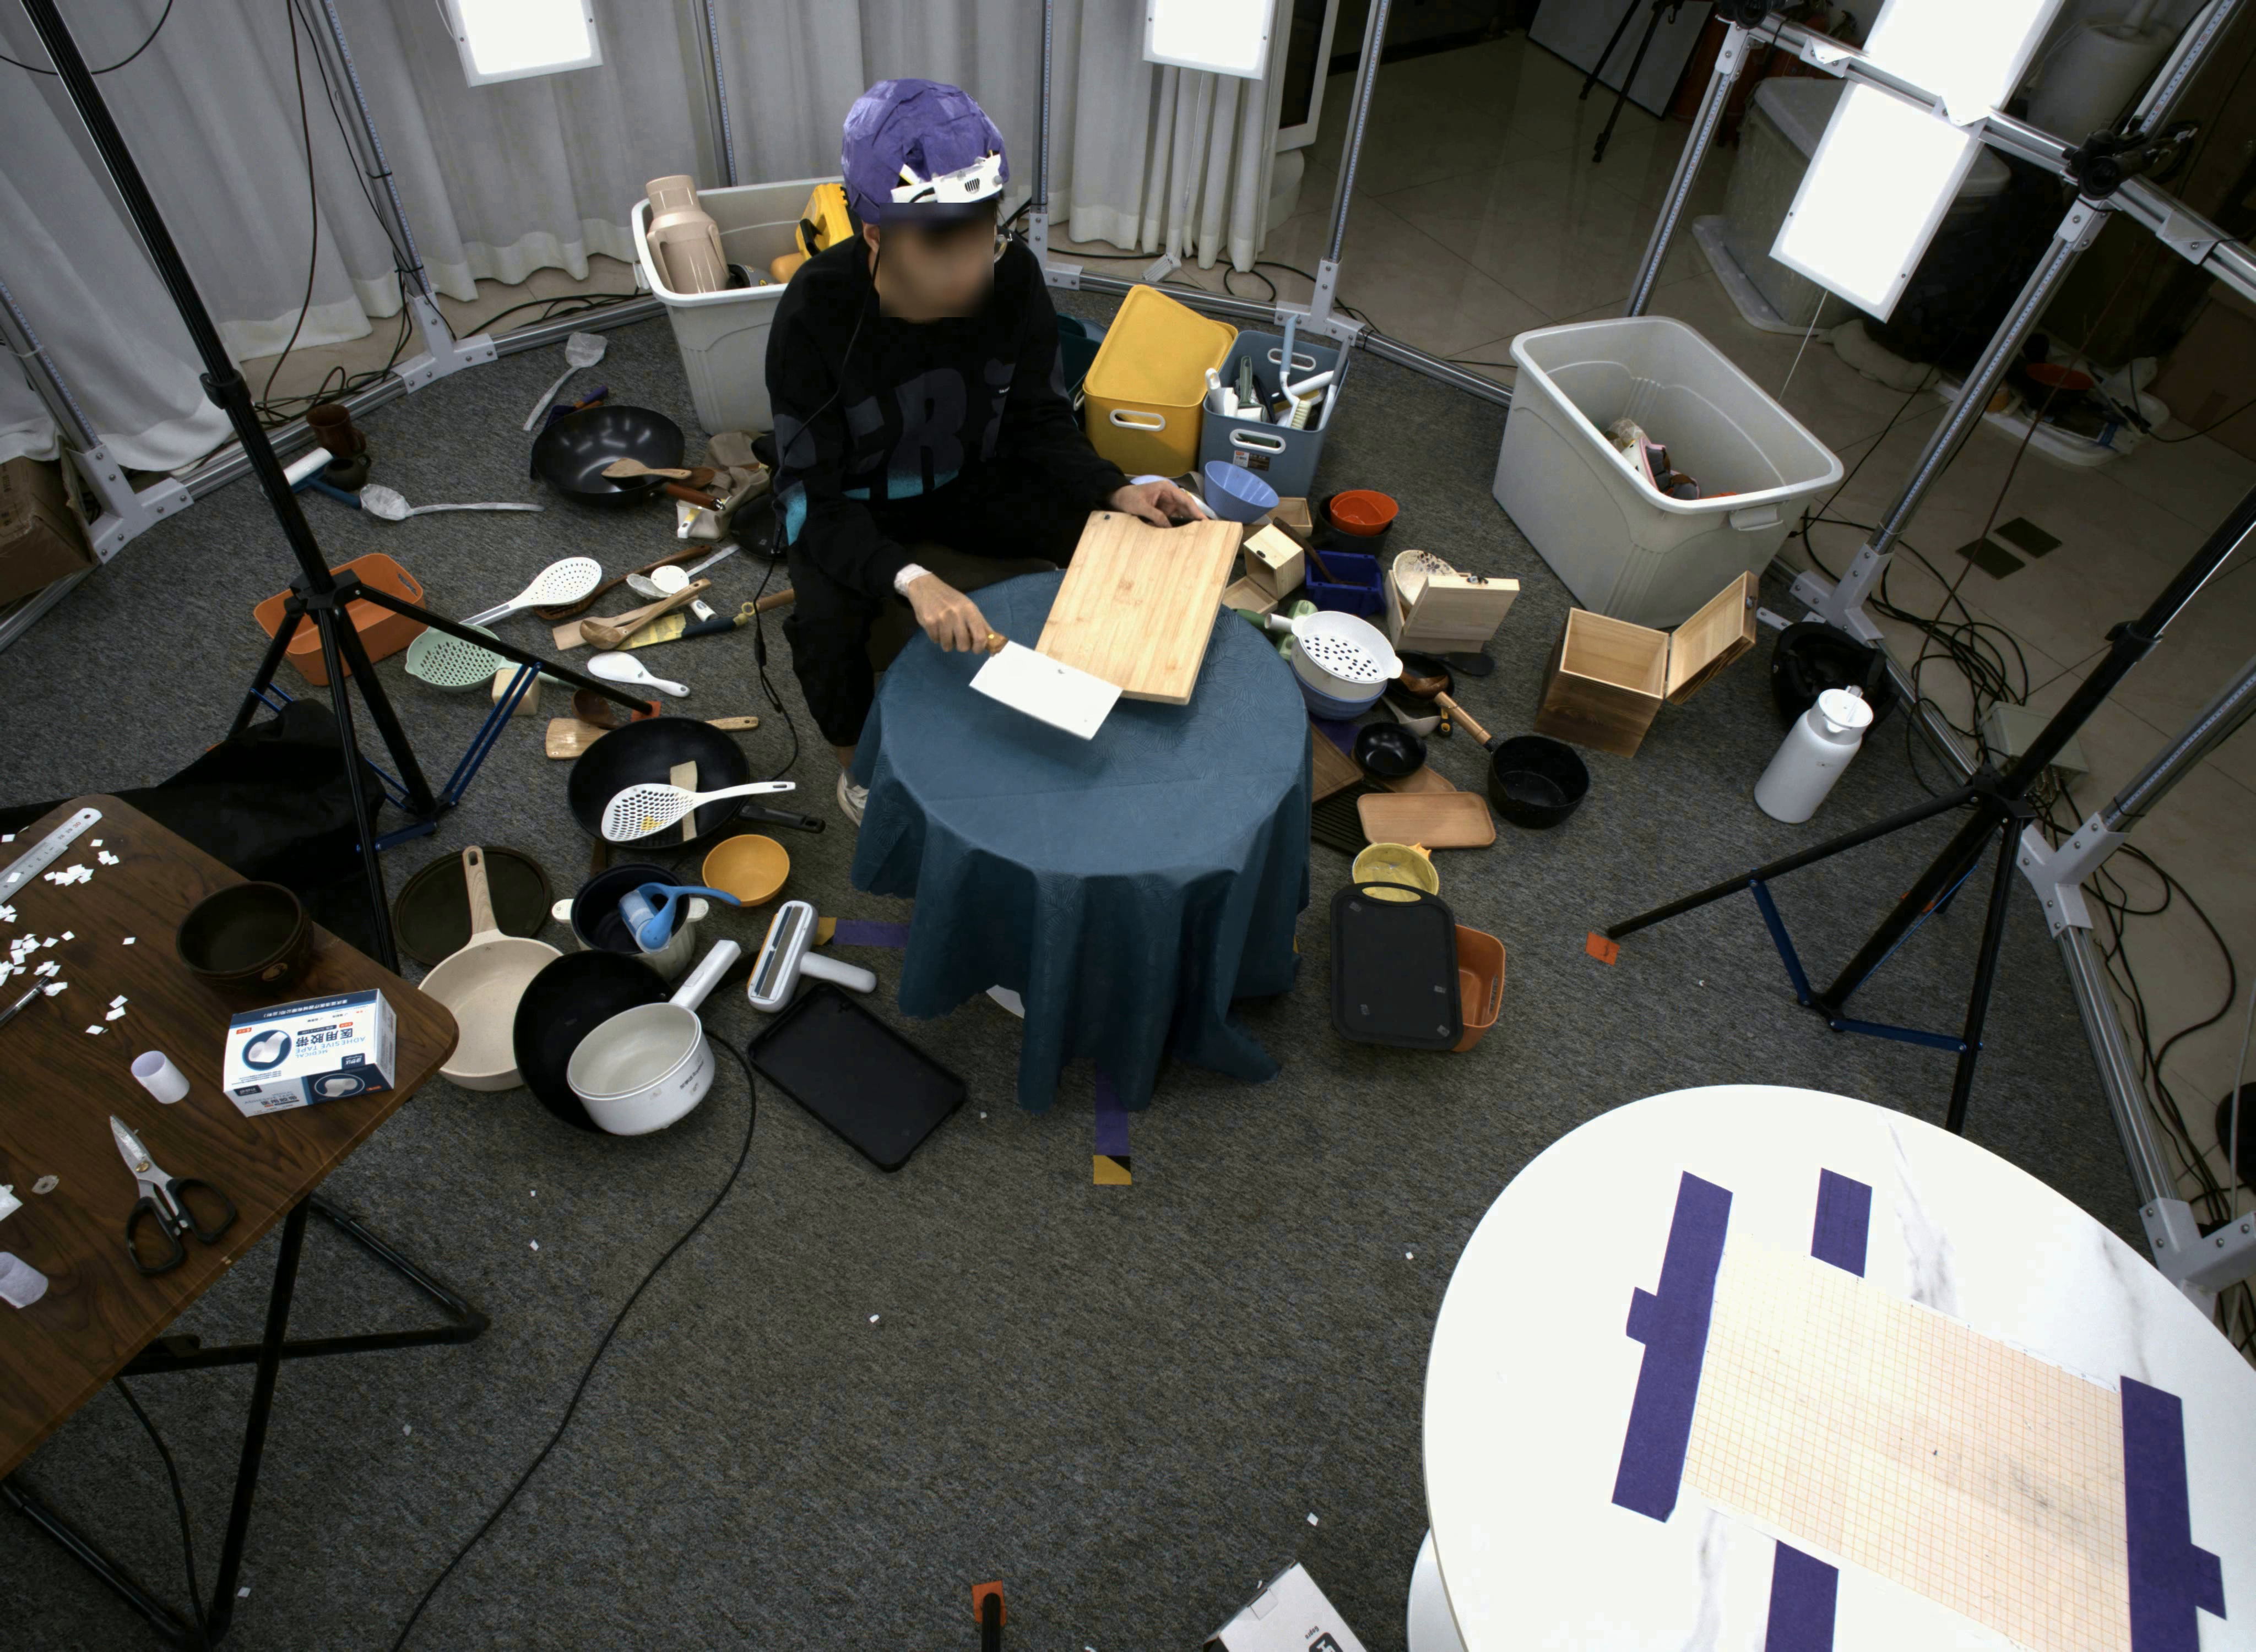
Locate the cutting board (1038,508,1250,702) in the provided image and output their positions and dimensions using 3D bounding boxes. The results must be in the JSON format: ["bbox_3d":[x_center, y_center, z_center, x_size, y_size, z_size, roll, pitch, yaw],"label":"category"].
[{"bbox_3d":[0.021,-0.332,1.885,0.251,0.023,0.356,7,57,17],"label":"cutting board"}]

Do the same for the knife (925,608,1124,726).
[{"bbox_3d":[-0.155,-0.213,1.746,0.308,0.020,0.094,24,64,16],"label":"knife"}]
